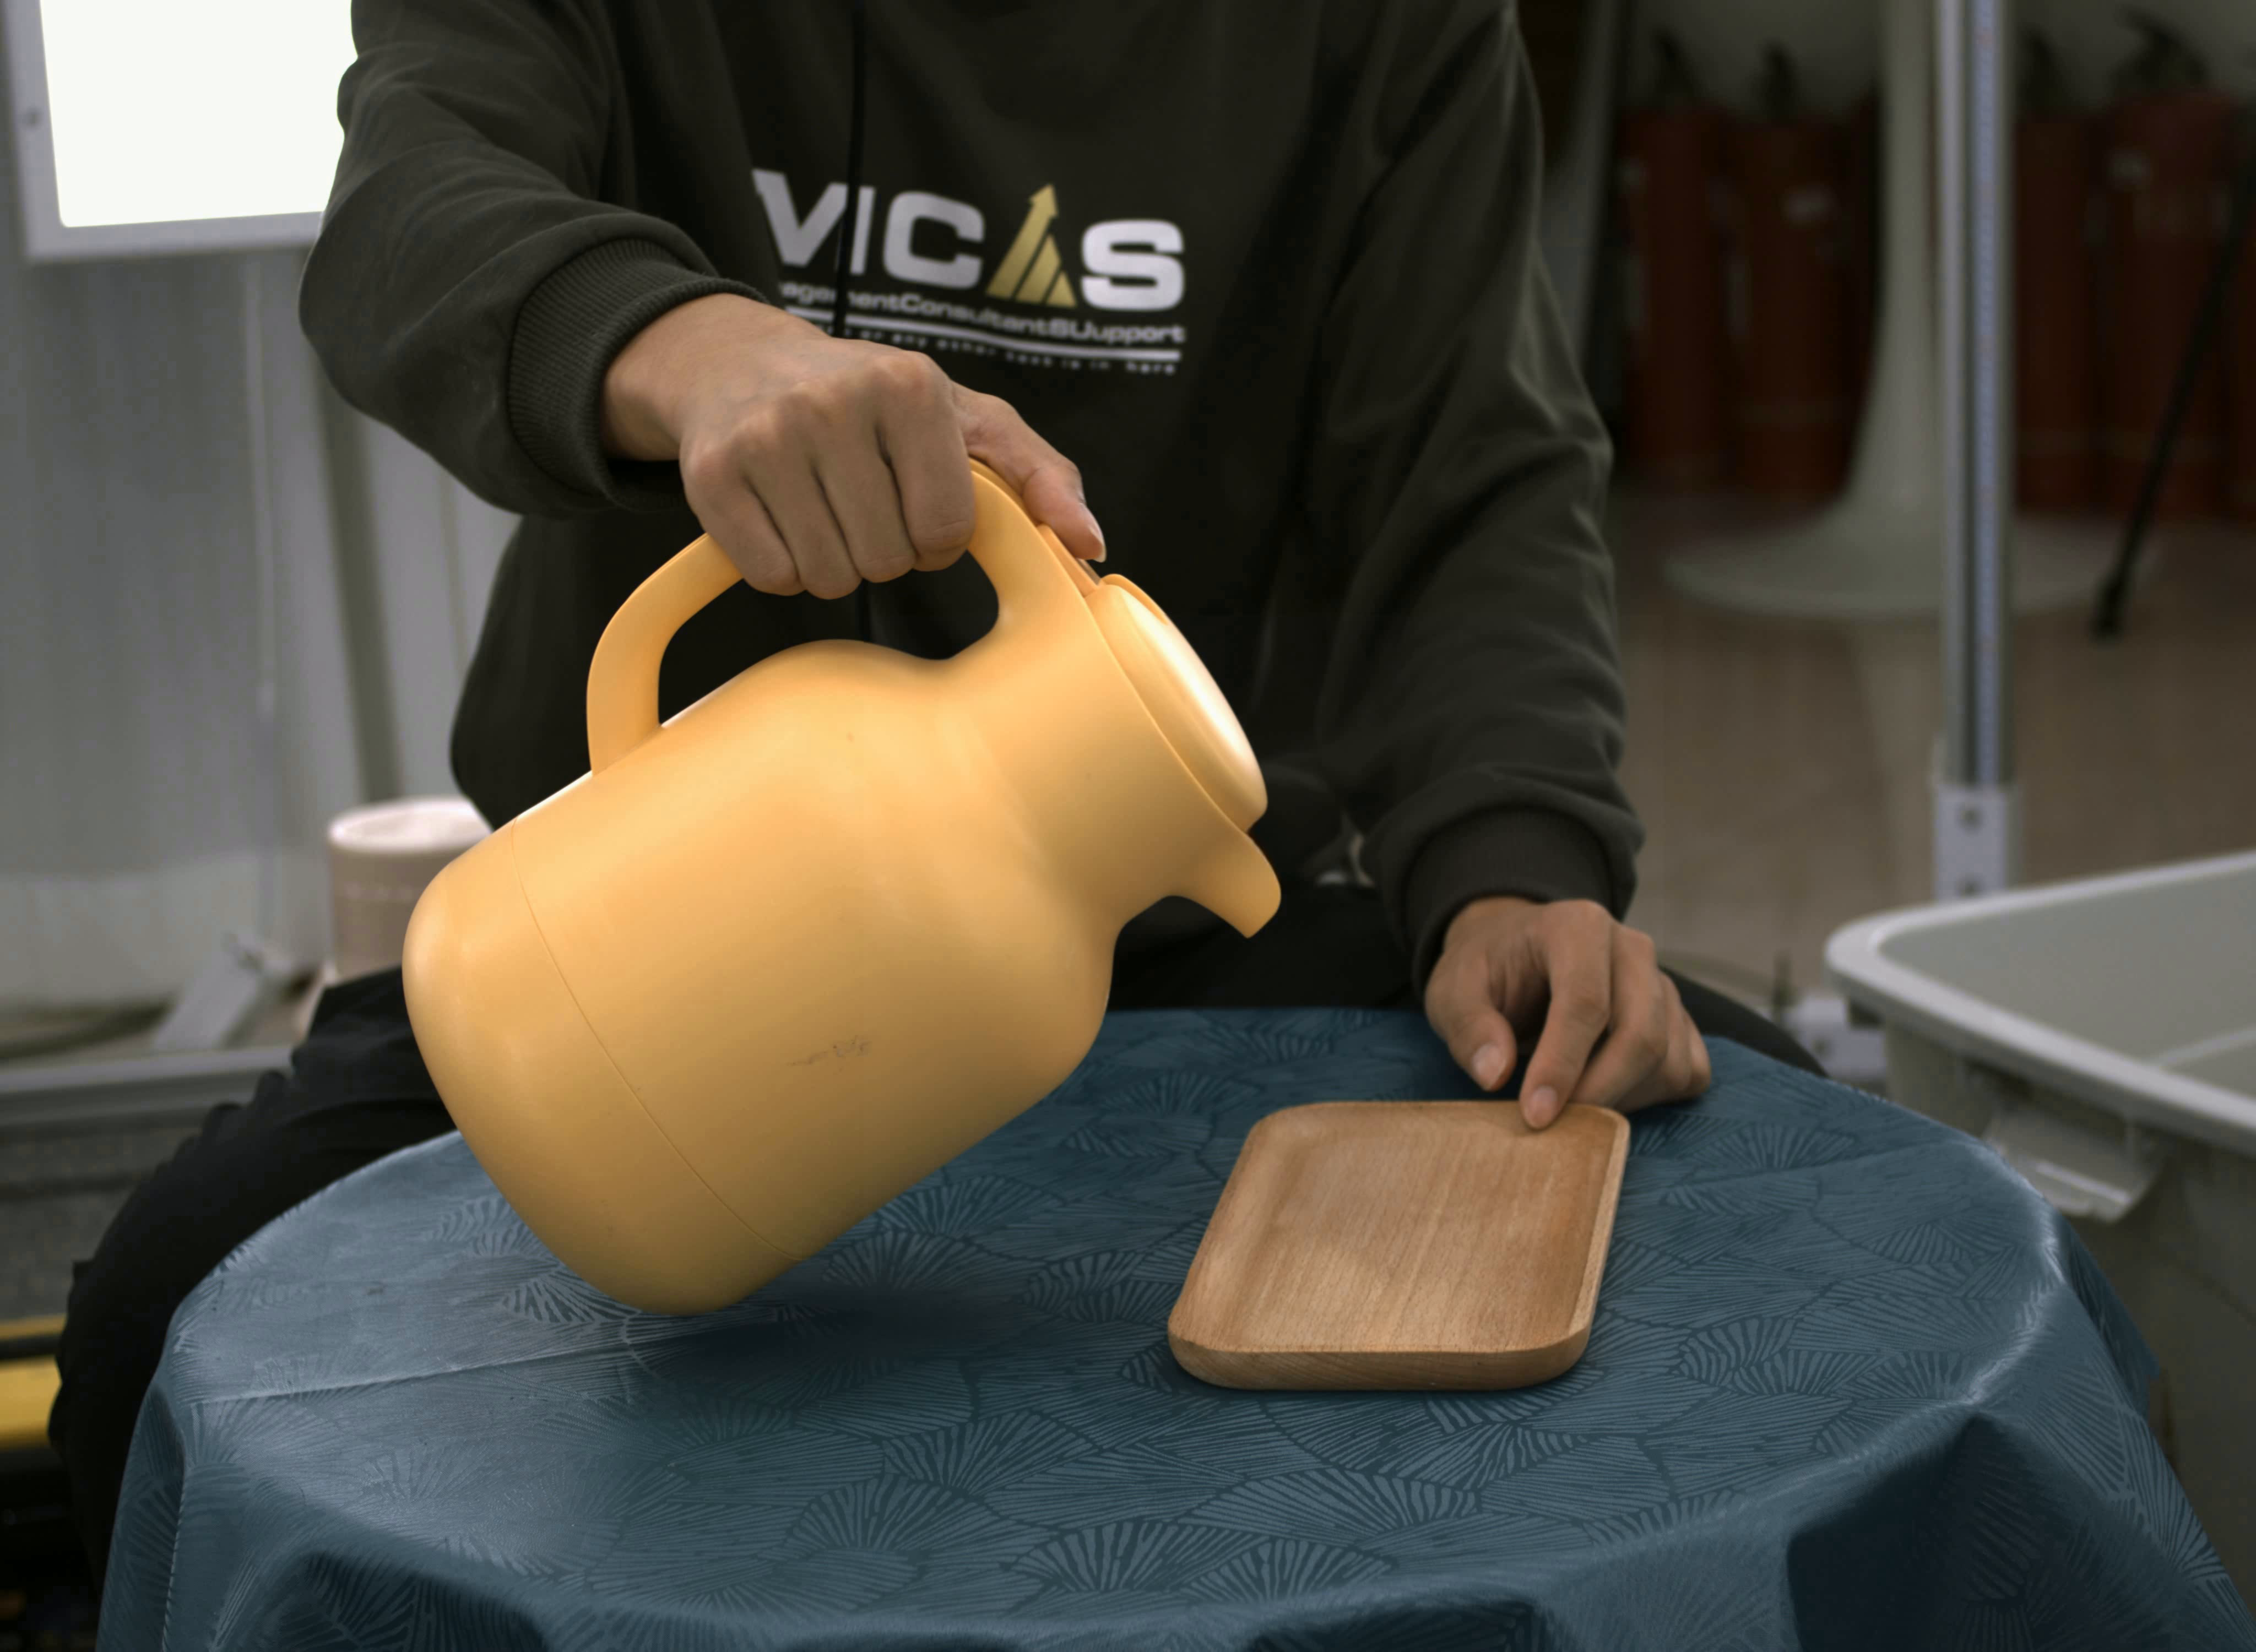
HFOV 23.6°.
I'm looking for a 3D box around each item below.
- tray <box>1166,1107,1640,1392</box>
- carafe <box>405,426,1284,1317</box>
[{"bbox_3d":[0.090,0.130,1.683,0.129,0.023,0.249,1,13,10],"label":"tray"},{"bbox_3d":[-0.092,0.007,1.641,0.259,0.203,0.163,-33,3,5],"label":"carafe"}]
